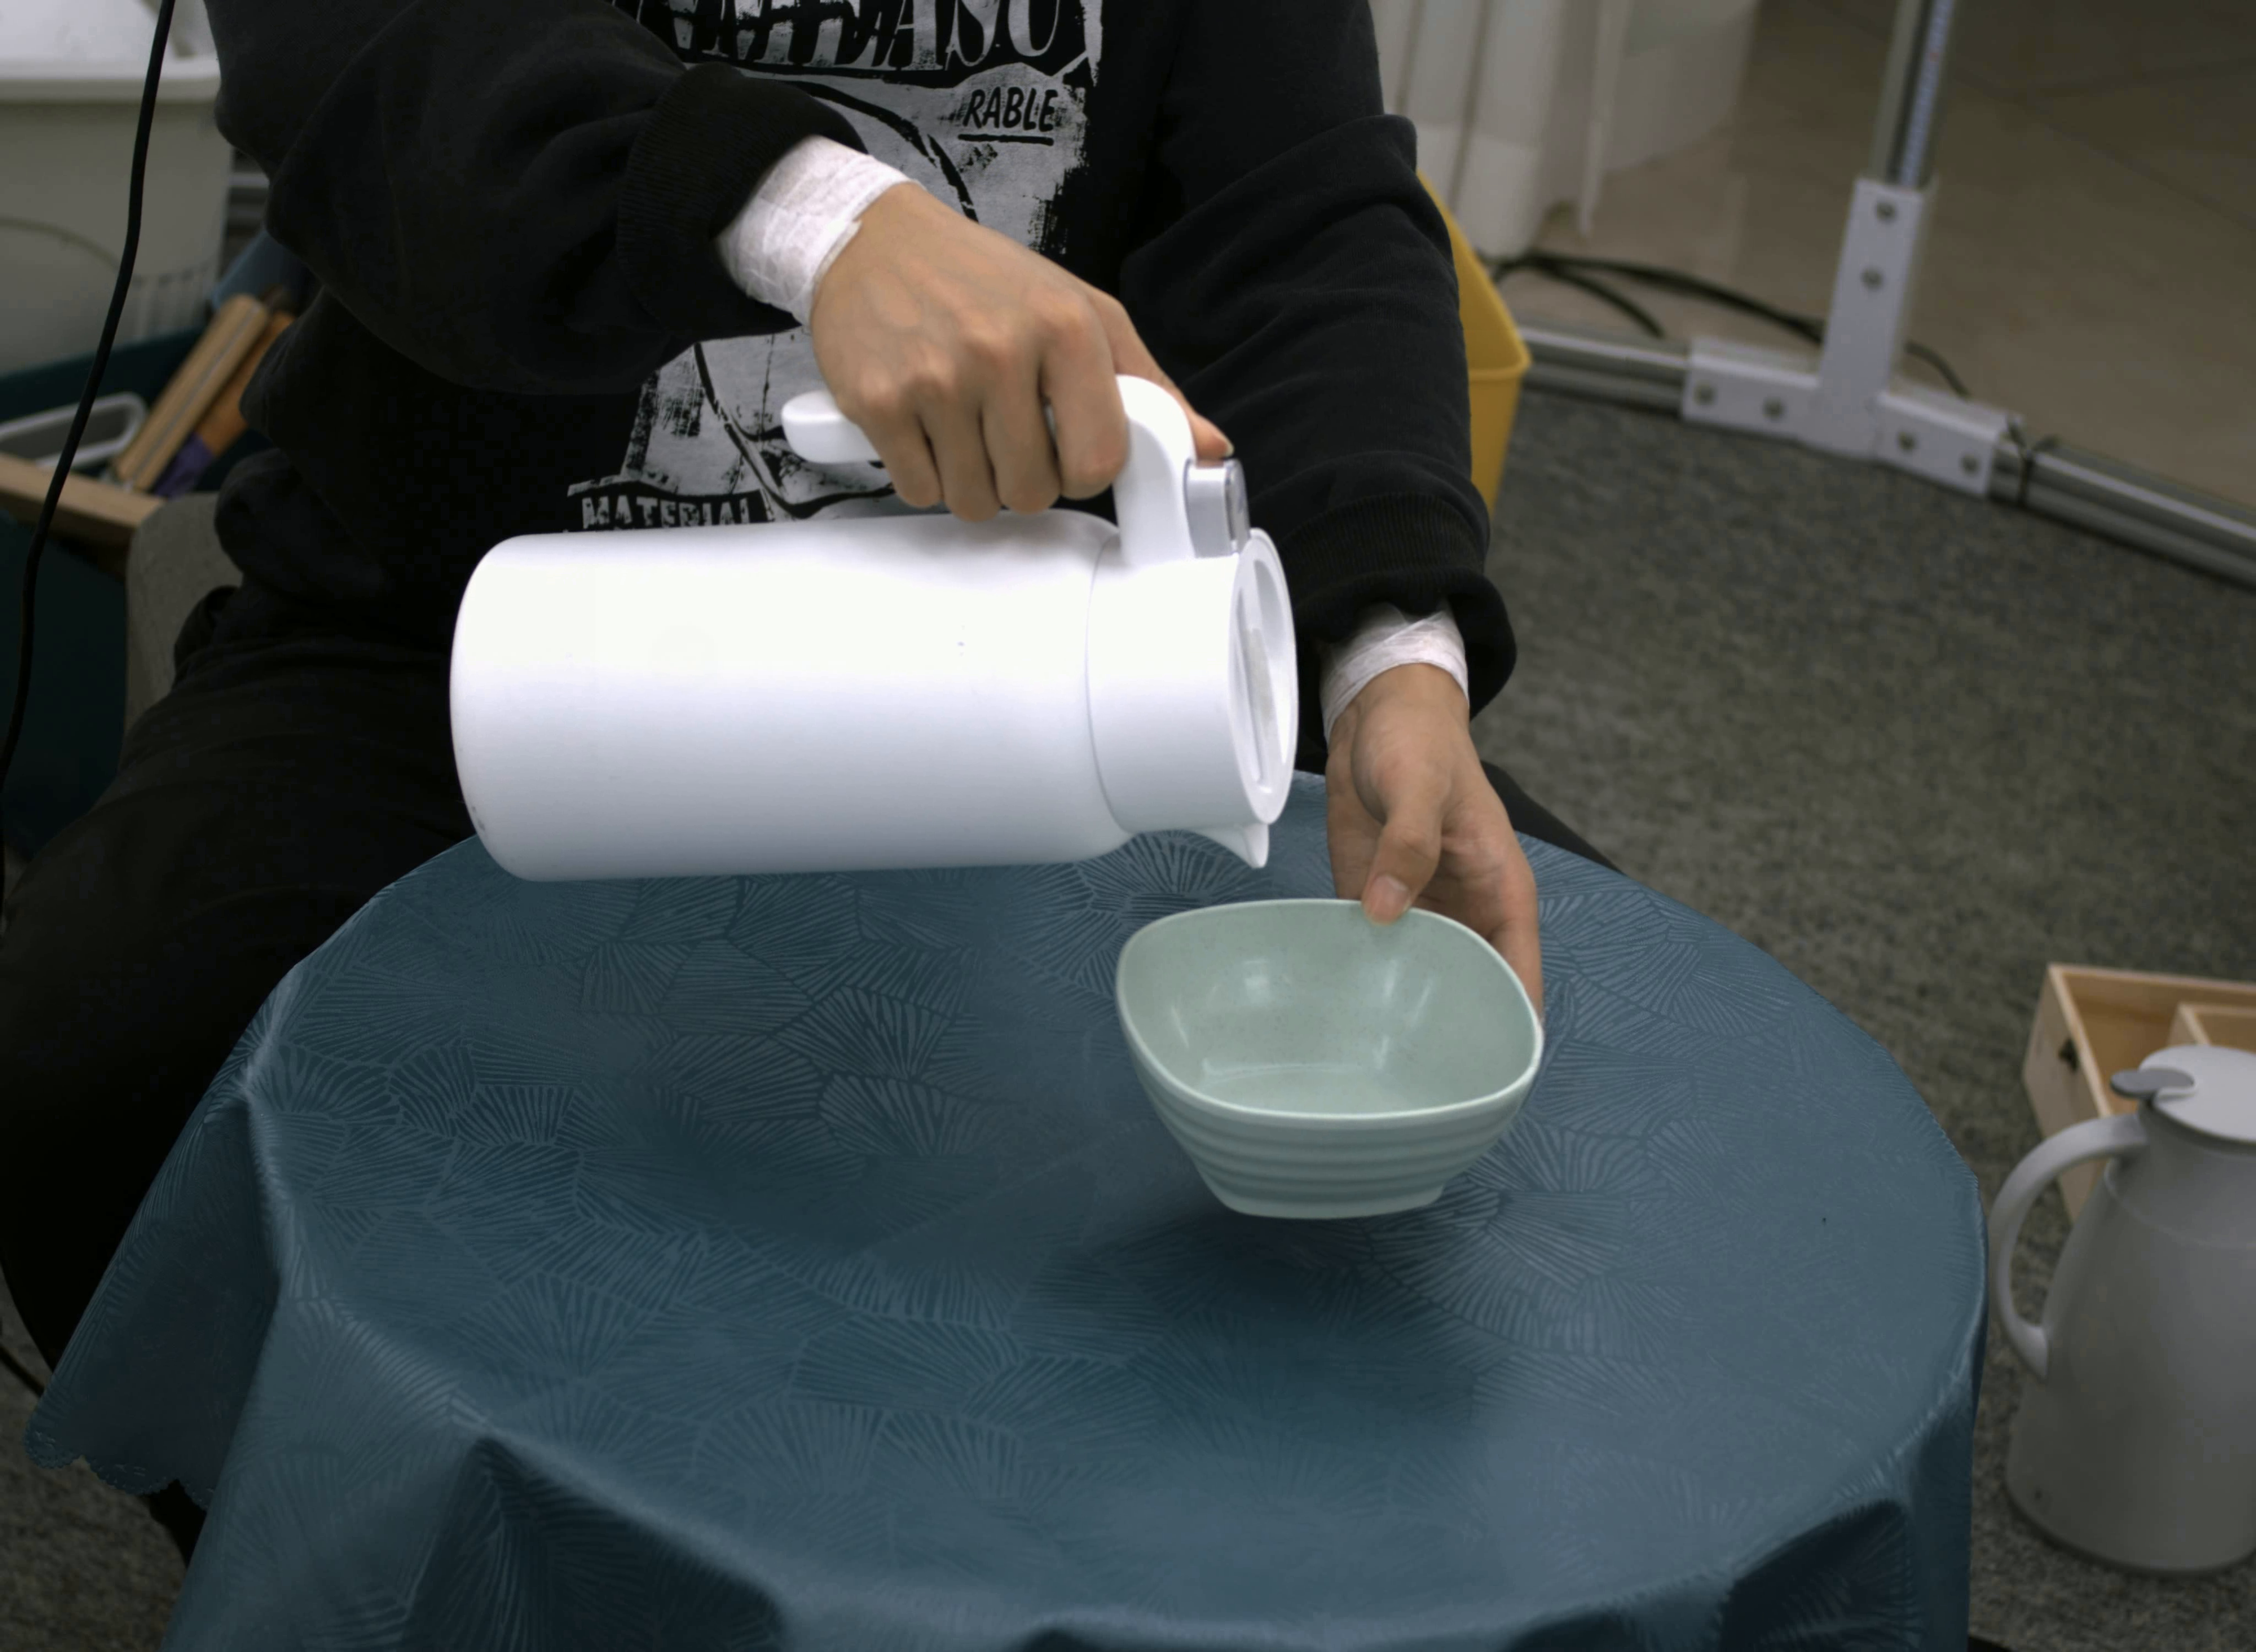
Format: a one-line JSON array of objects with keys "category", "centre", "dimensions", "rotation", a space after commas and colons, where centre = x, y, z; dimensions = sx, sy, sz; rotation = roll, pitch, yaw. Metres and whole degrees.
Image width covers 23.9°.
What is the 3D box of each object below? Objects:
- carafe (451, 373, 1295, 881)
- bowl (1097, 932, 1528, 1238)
[{"category": "carafe", "centre": [-0.086, -0.059, 1.756], "dimensions": [0.269, 0.172, 0.124], "rotation": [-2, 26, 17]}, {"category": "bowl", "centre": [0.059, 0.091, 1.764], "dimensions": [0.151, 0.058, 0.152], "rotation": [1, 24, -1]}]
